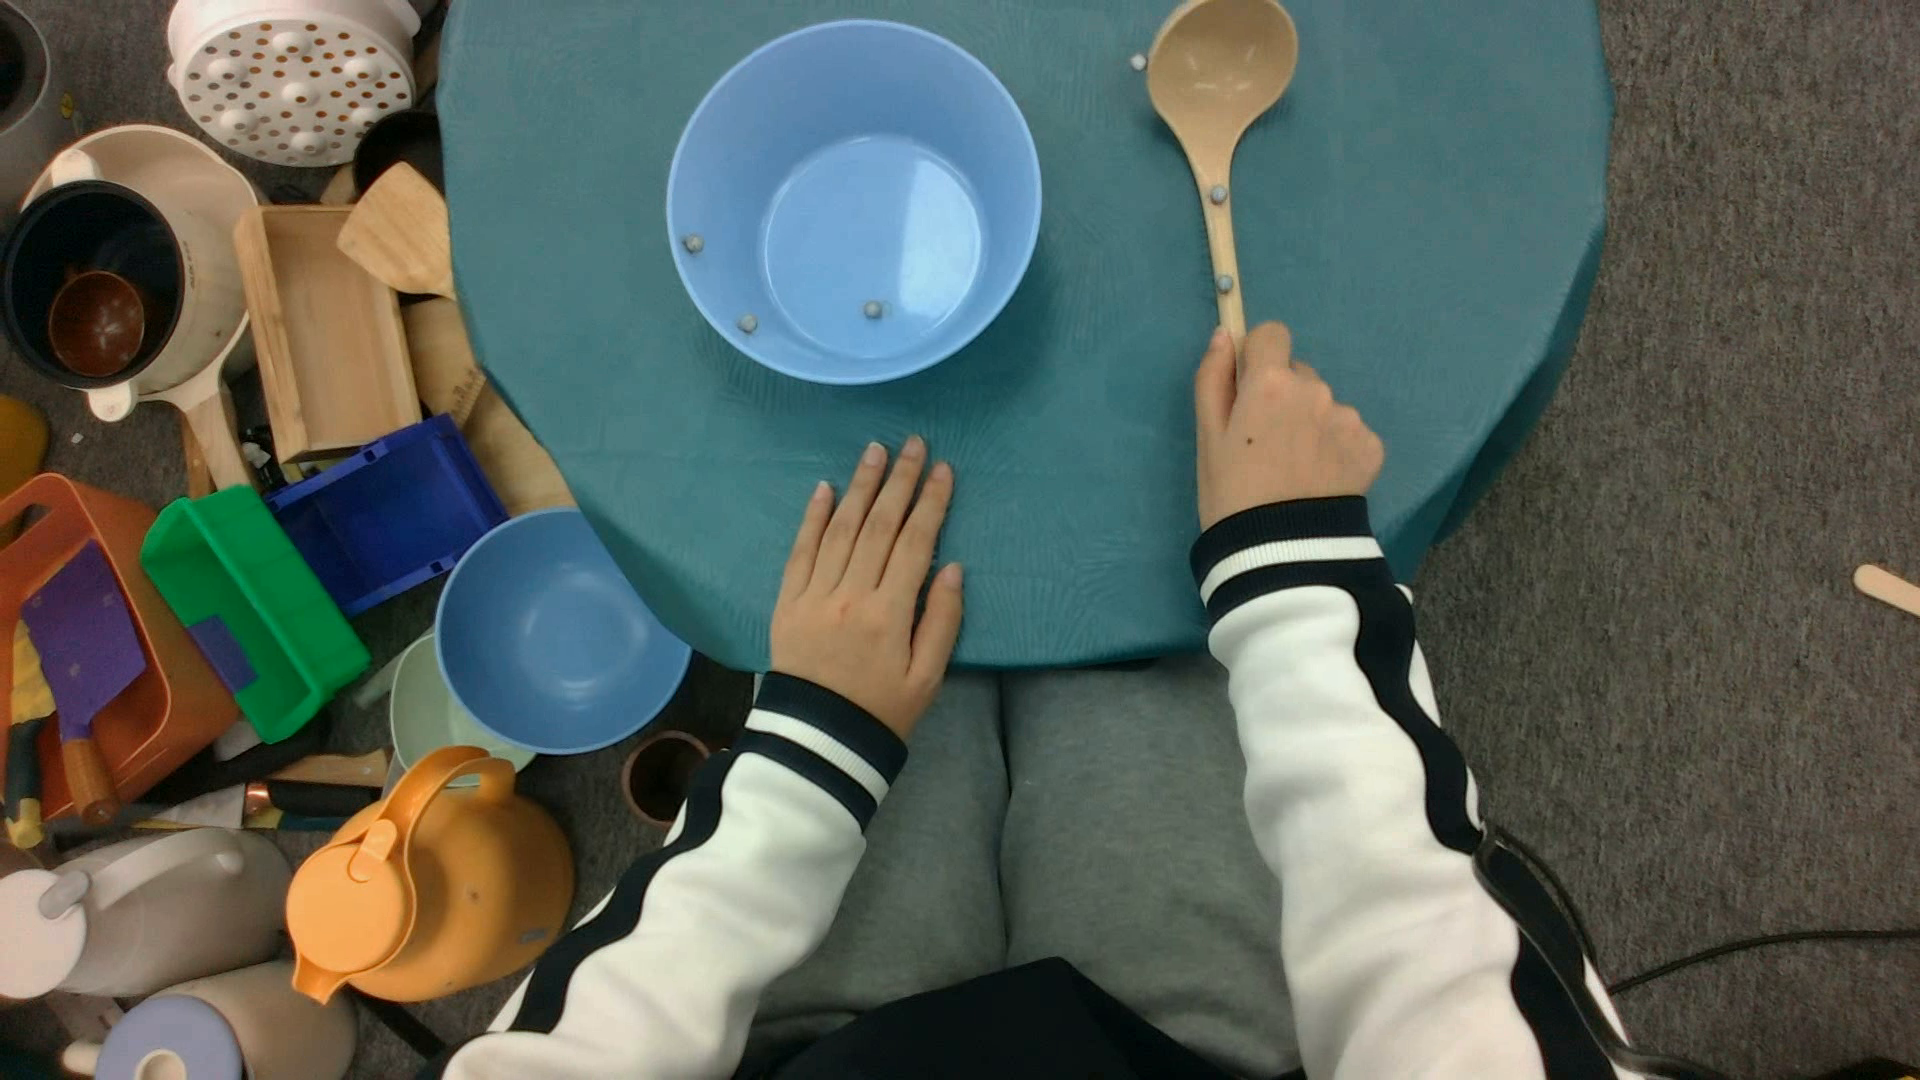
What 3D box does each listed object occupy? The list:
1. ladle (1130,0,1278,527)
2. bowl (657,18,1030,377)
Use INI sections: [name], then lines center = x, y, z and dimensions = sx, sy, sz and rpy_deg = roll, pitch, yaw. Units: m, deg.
[ladle]
center = 0.129, -0.137, 0.648
dimensions = 0.072, 0.072, 0.255
rpy_deg = -5, 78, -7
[bowl]
center = -0.052, -0.156, 0.670
dimensions = 0.176, 0.070, 0.176
rpy_deg = -1, 81, 5
